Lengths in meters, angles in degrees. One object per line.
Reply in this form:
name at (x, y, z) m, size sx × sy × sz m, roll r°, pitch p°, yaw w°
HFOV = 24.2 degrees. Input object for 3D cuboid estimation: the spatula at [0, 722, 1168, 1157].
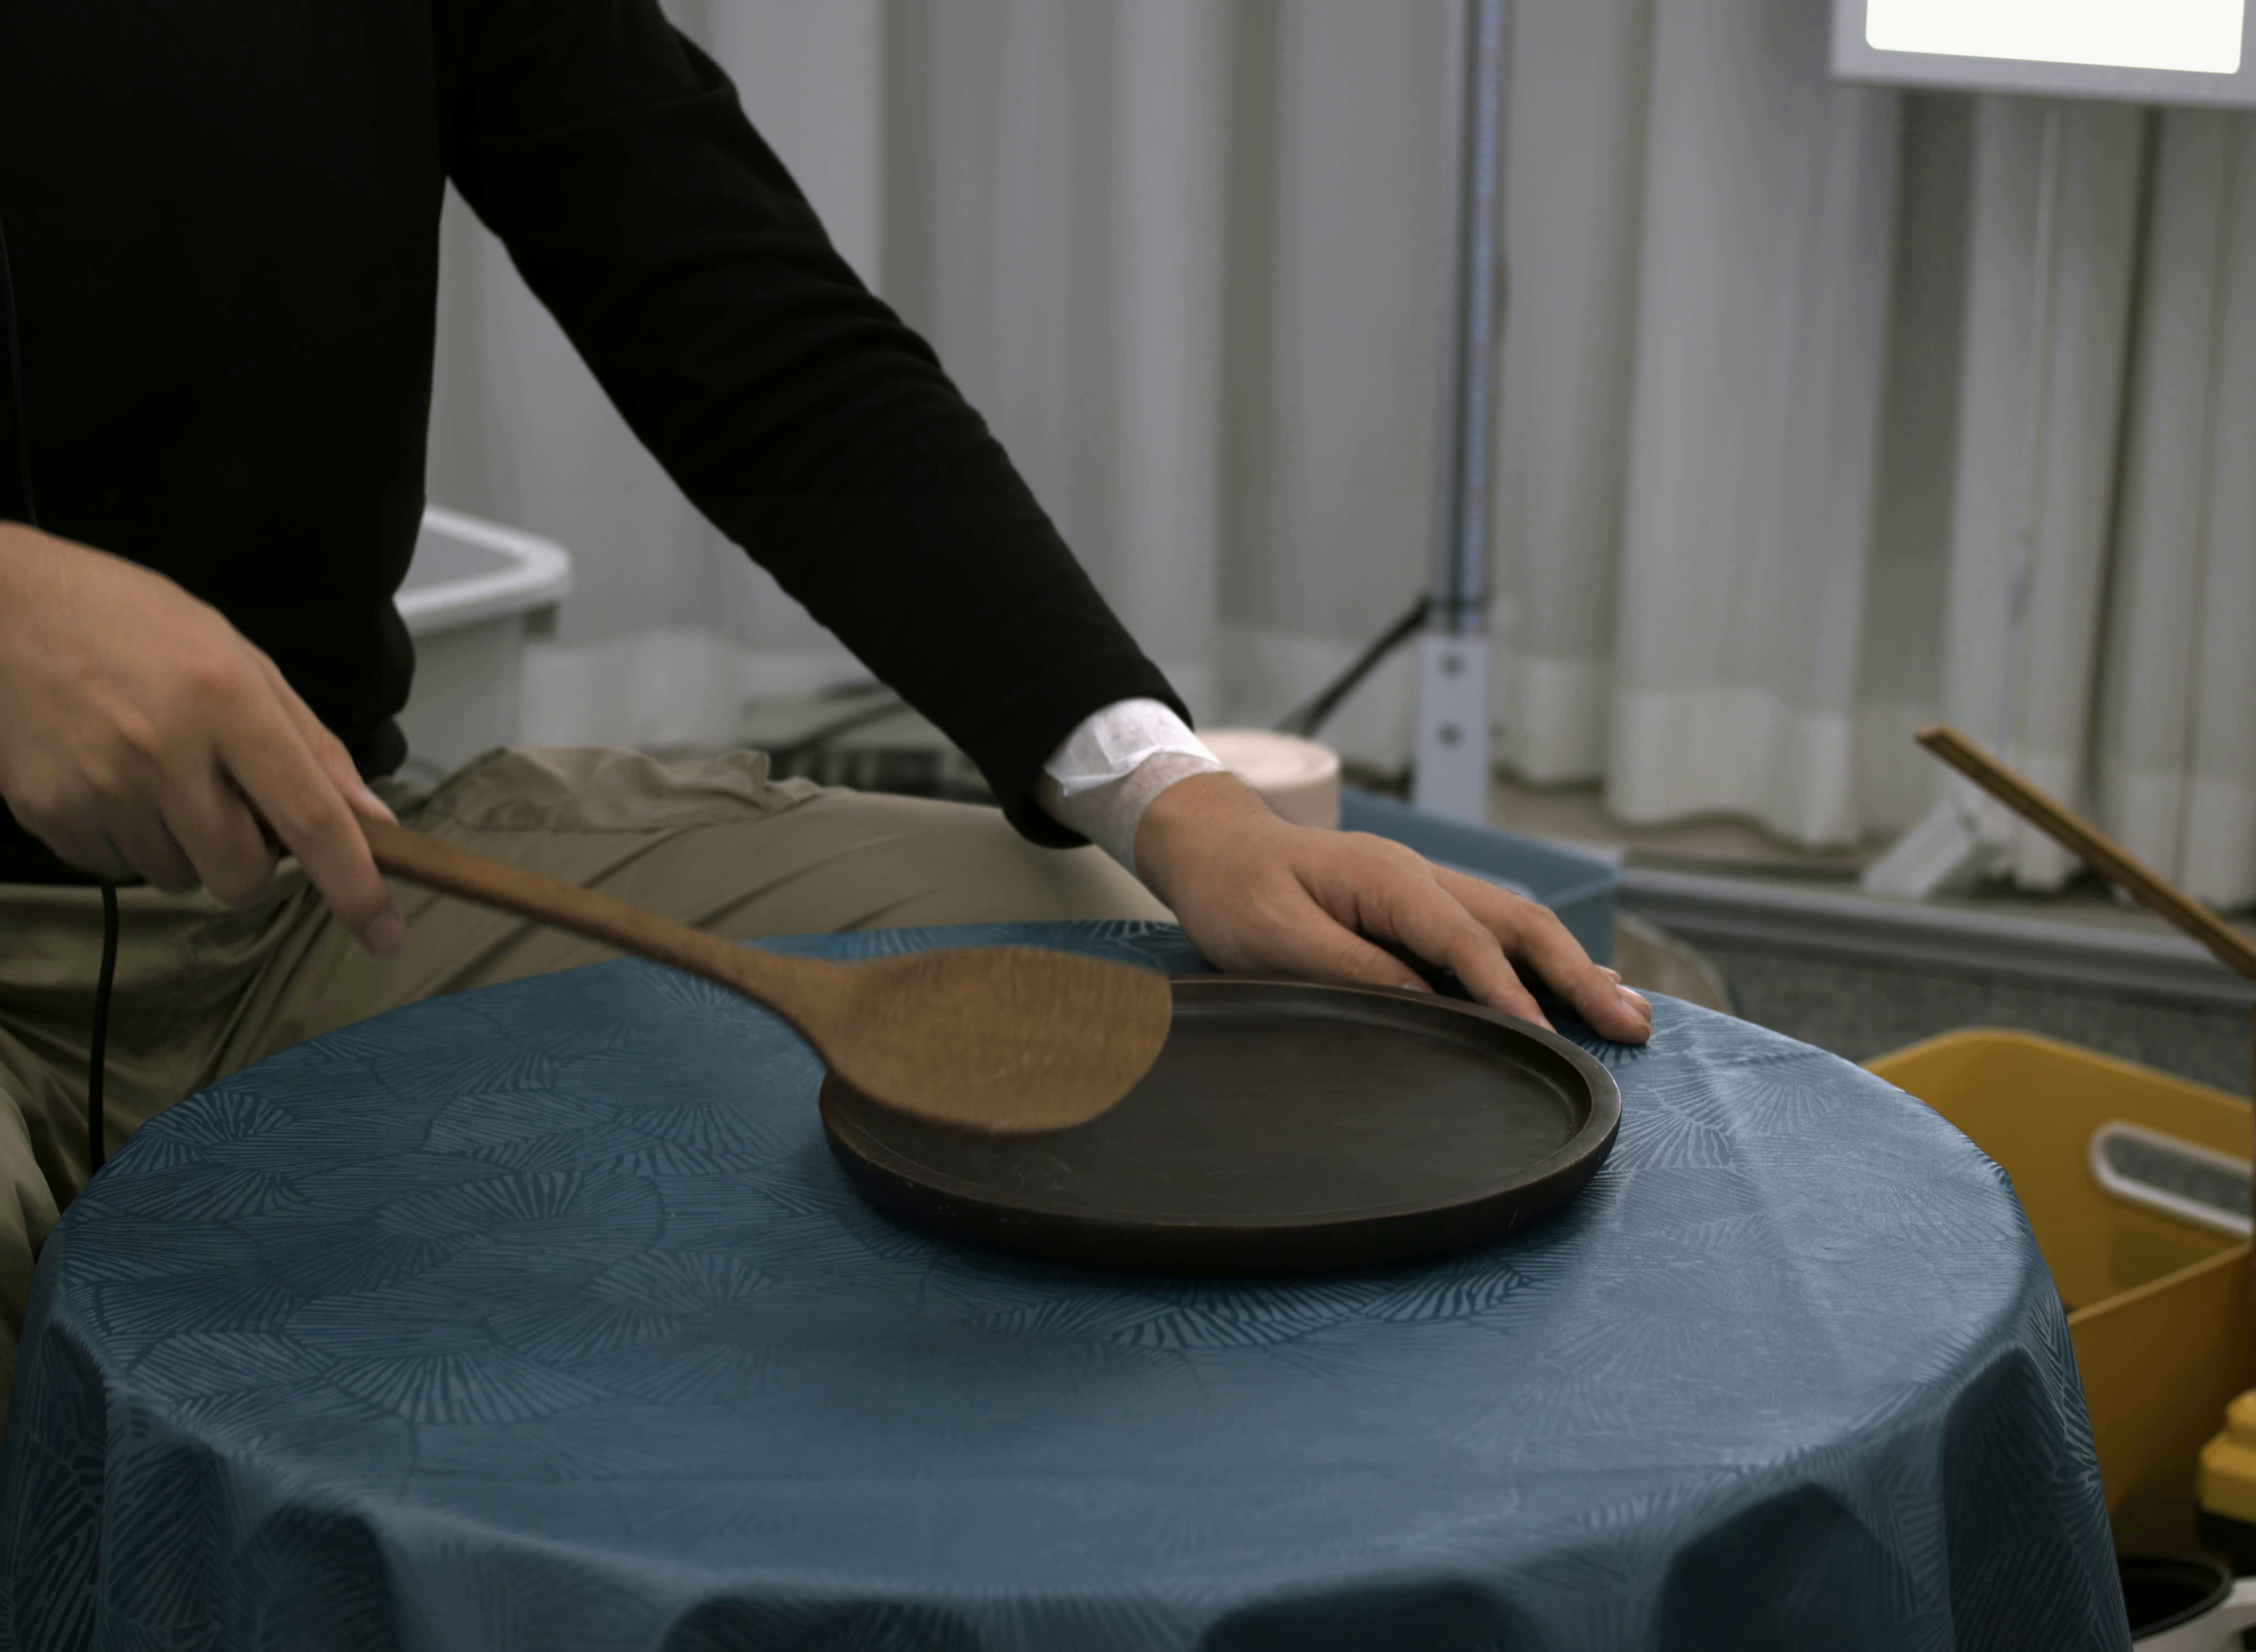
spatula at (-0.171, 0.025, 1.525) m, size 0.382 × 0.016 × 0.096 m, roll 17°, pitch 35°, yaw 18°

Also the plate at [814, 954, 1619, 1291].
plate at (0.028, 0.093, 1.651) m, size 0.254 × 0.029 × 0.253 m, roll 0°, pitch 17°, yaw 0°
